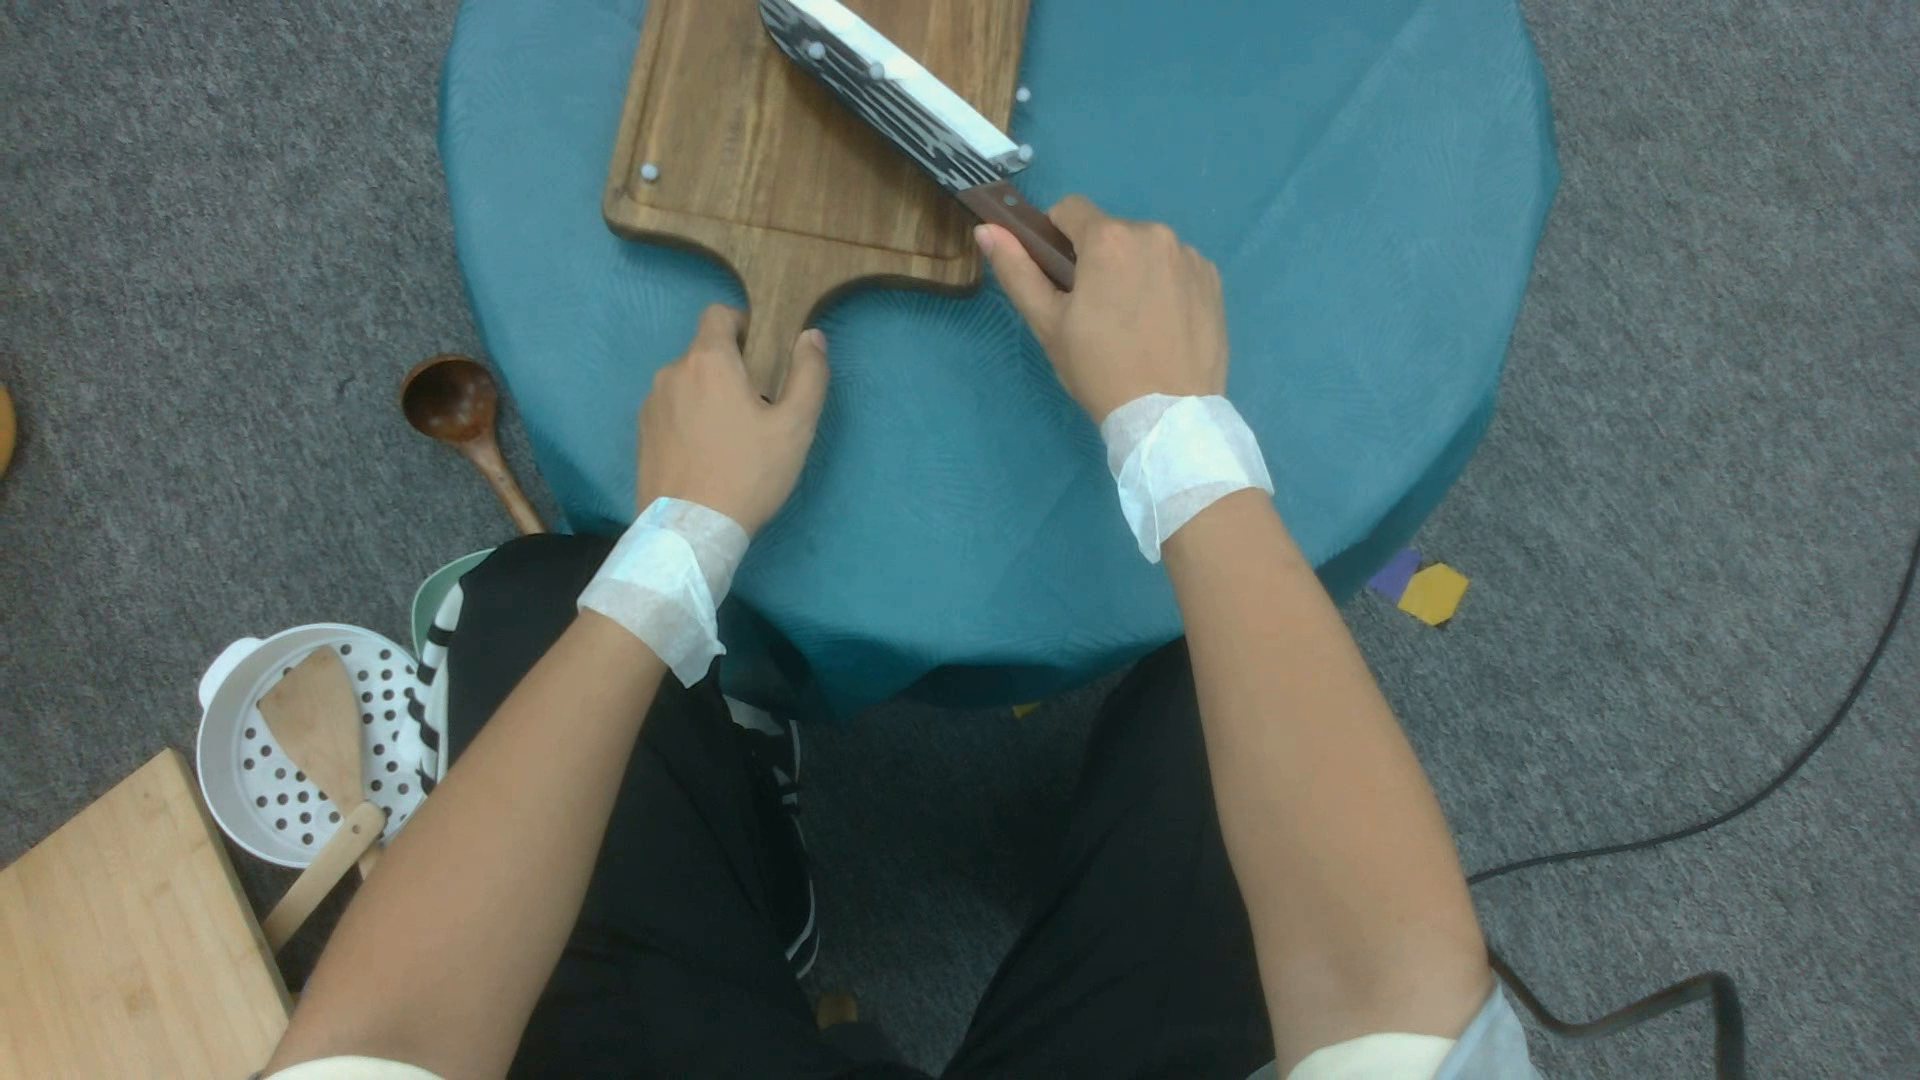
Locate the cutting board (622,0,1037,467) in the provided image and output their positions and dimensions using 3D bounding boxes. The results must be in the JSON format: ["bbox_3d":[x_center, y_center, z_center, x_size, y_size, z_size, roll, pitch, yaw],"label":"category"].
[{"bbox_3d":[-0.071,-0.210,0.739,0.201,0.023,0.353,9,77,0],"label":"cutting board"}]

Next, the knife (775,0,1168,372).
[{"bbox_3d":[0.003,-0.193,0.705,0.299,0.024,0.068,43,49,14],"label":"knife"}]
